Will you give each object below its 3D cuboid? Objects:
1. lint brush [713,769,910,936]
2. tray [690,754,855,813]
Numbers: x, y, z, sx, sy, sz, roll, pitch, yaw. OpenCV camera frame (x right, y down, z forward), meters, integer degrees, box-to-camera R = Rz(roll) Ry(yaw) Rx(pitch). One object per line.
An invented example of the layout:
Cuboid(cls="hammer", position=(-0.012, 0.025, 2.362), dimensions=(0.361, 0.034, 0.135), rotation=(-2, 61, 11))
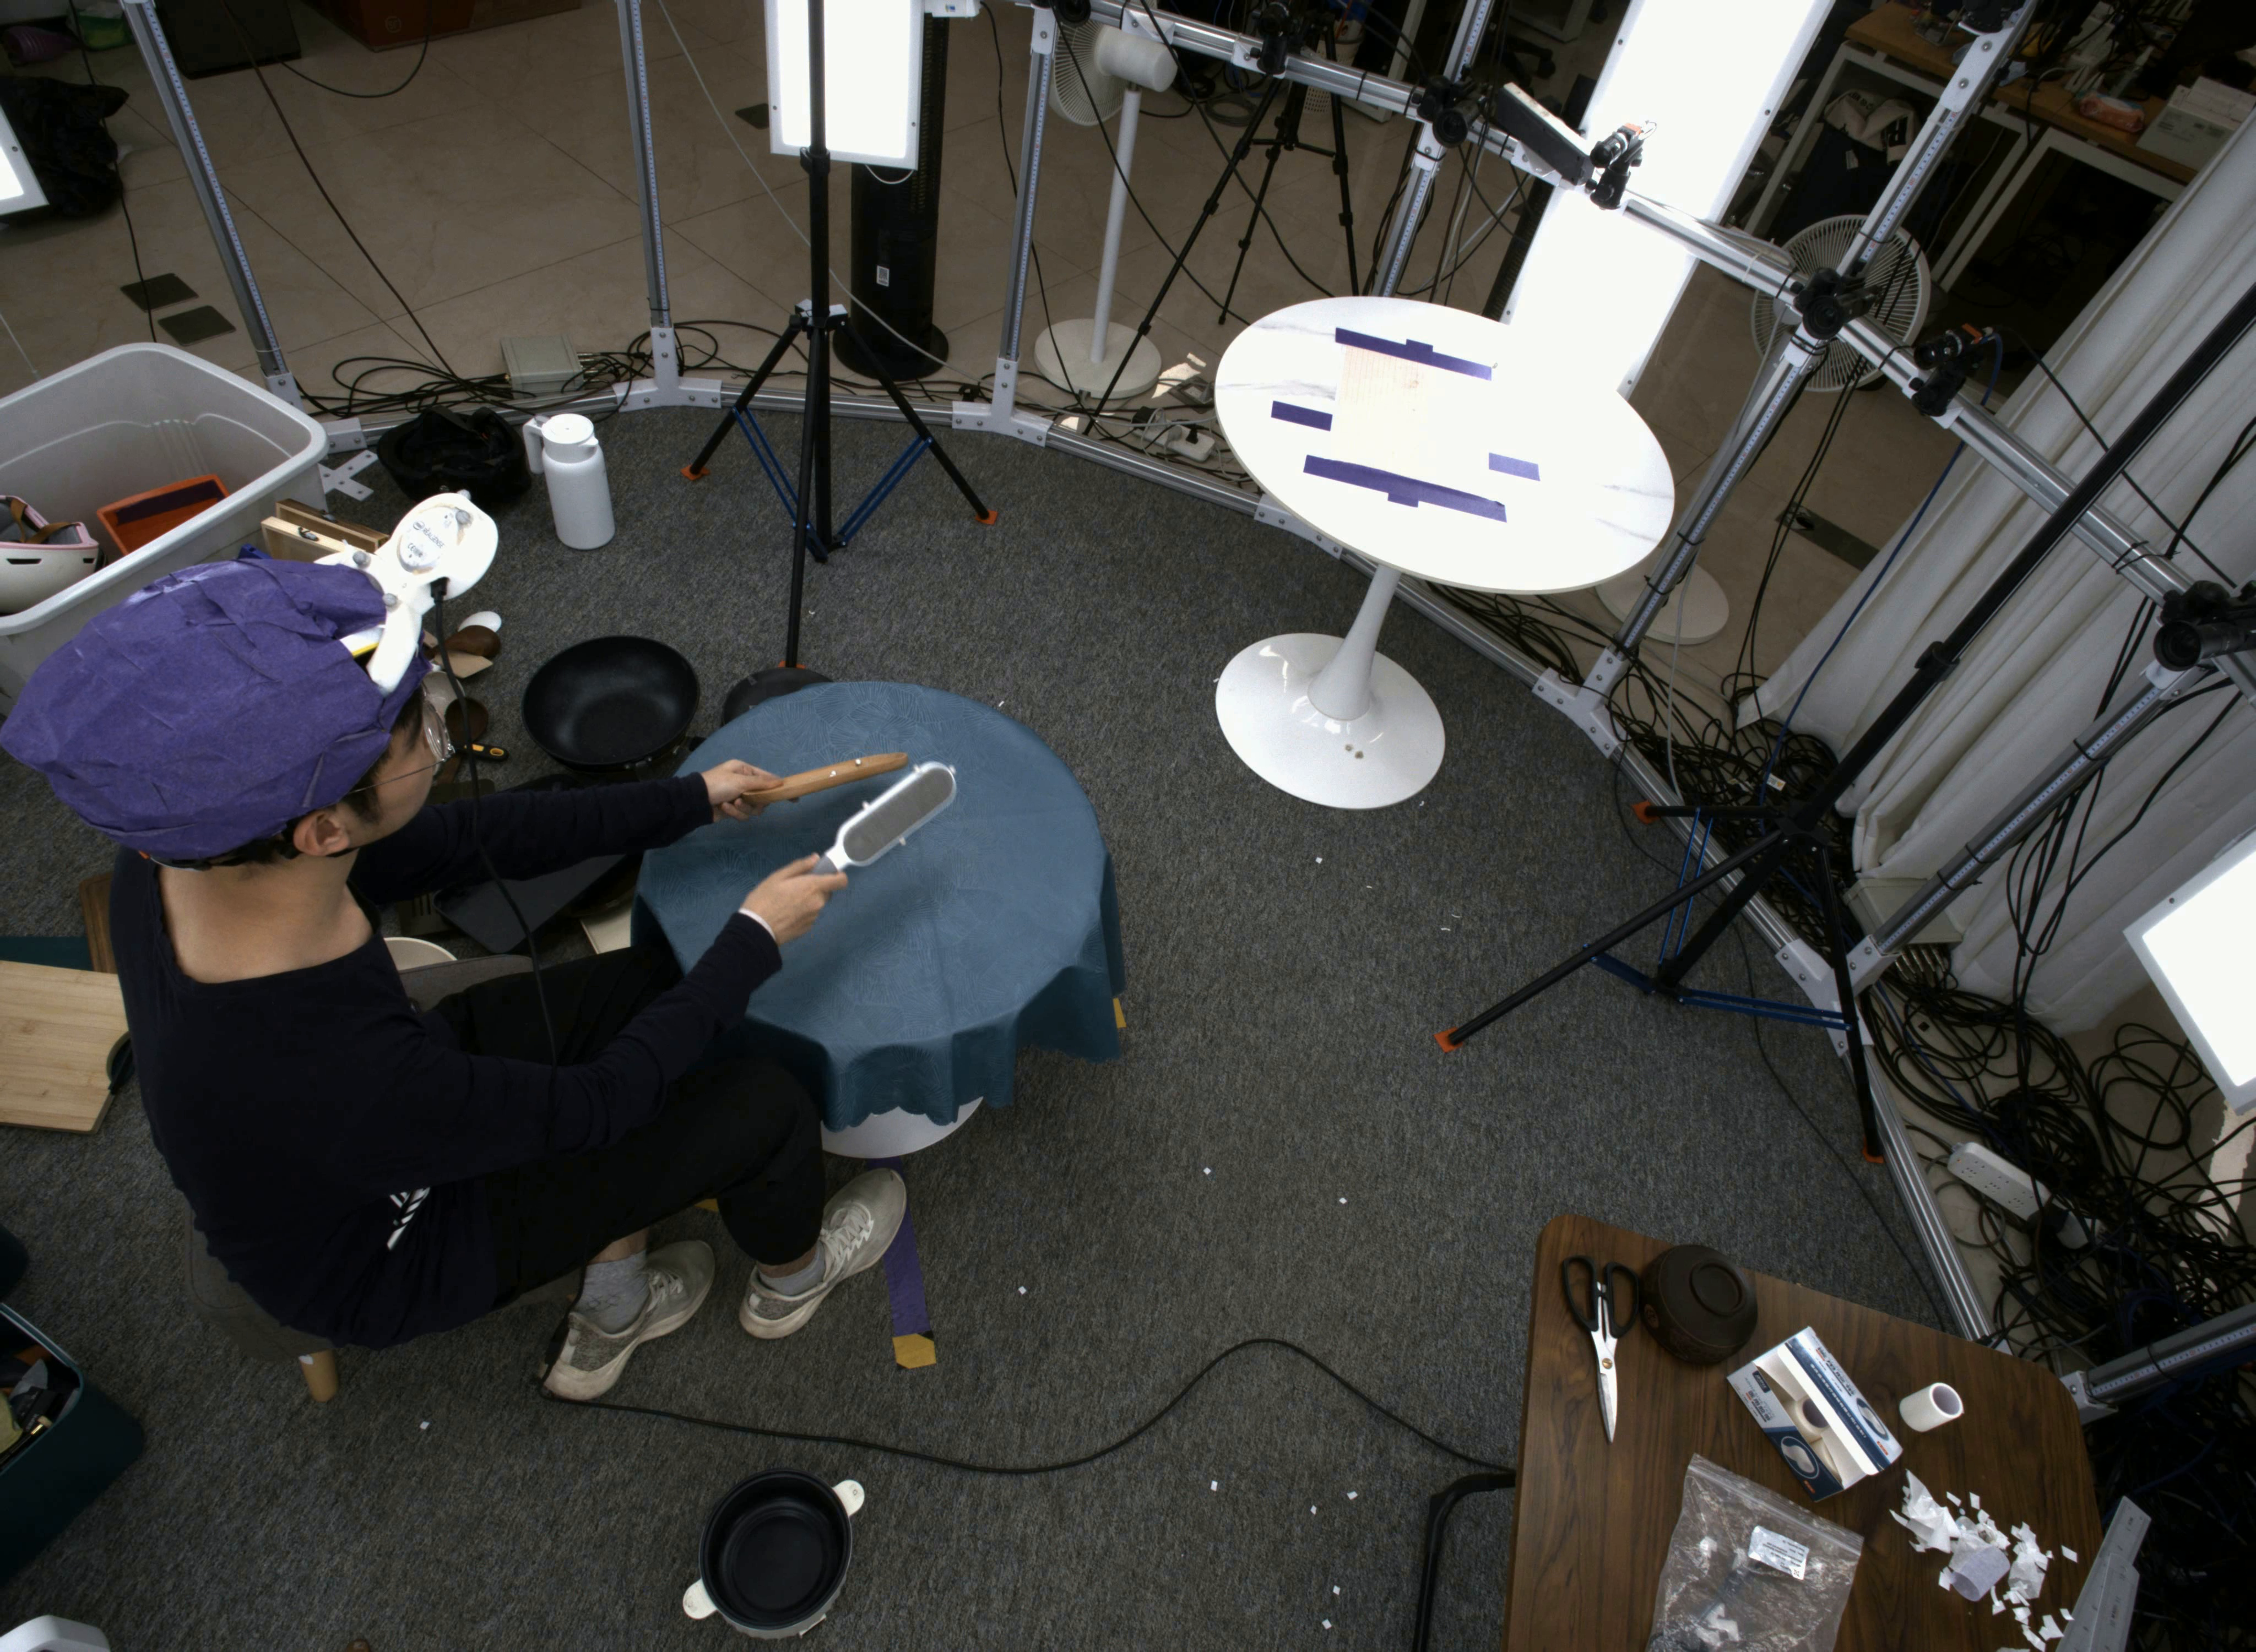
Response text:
Cuboid(cls="lint brush", position=(-0.382, 0.028, 1.577), dimensions=(0.020, 0.062, 0.309), rotation=(9, 43, 47))
Cuboid(cls="tray", position=(-0.454, -0.057, 1.667), dimensions=(0.233, 0.098, 0.021), rotation=(-25, 106, -42))
